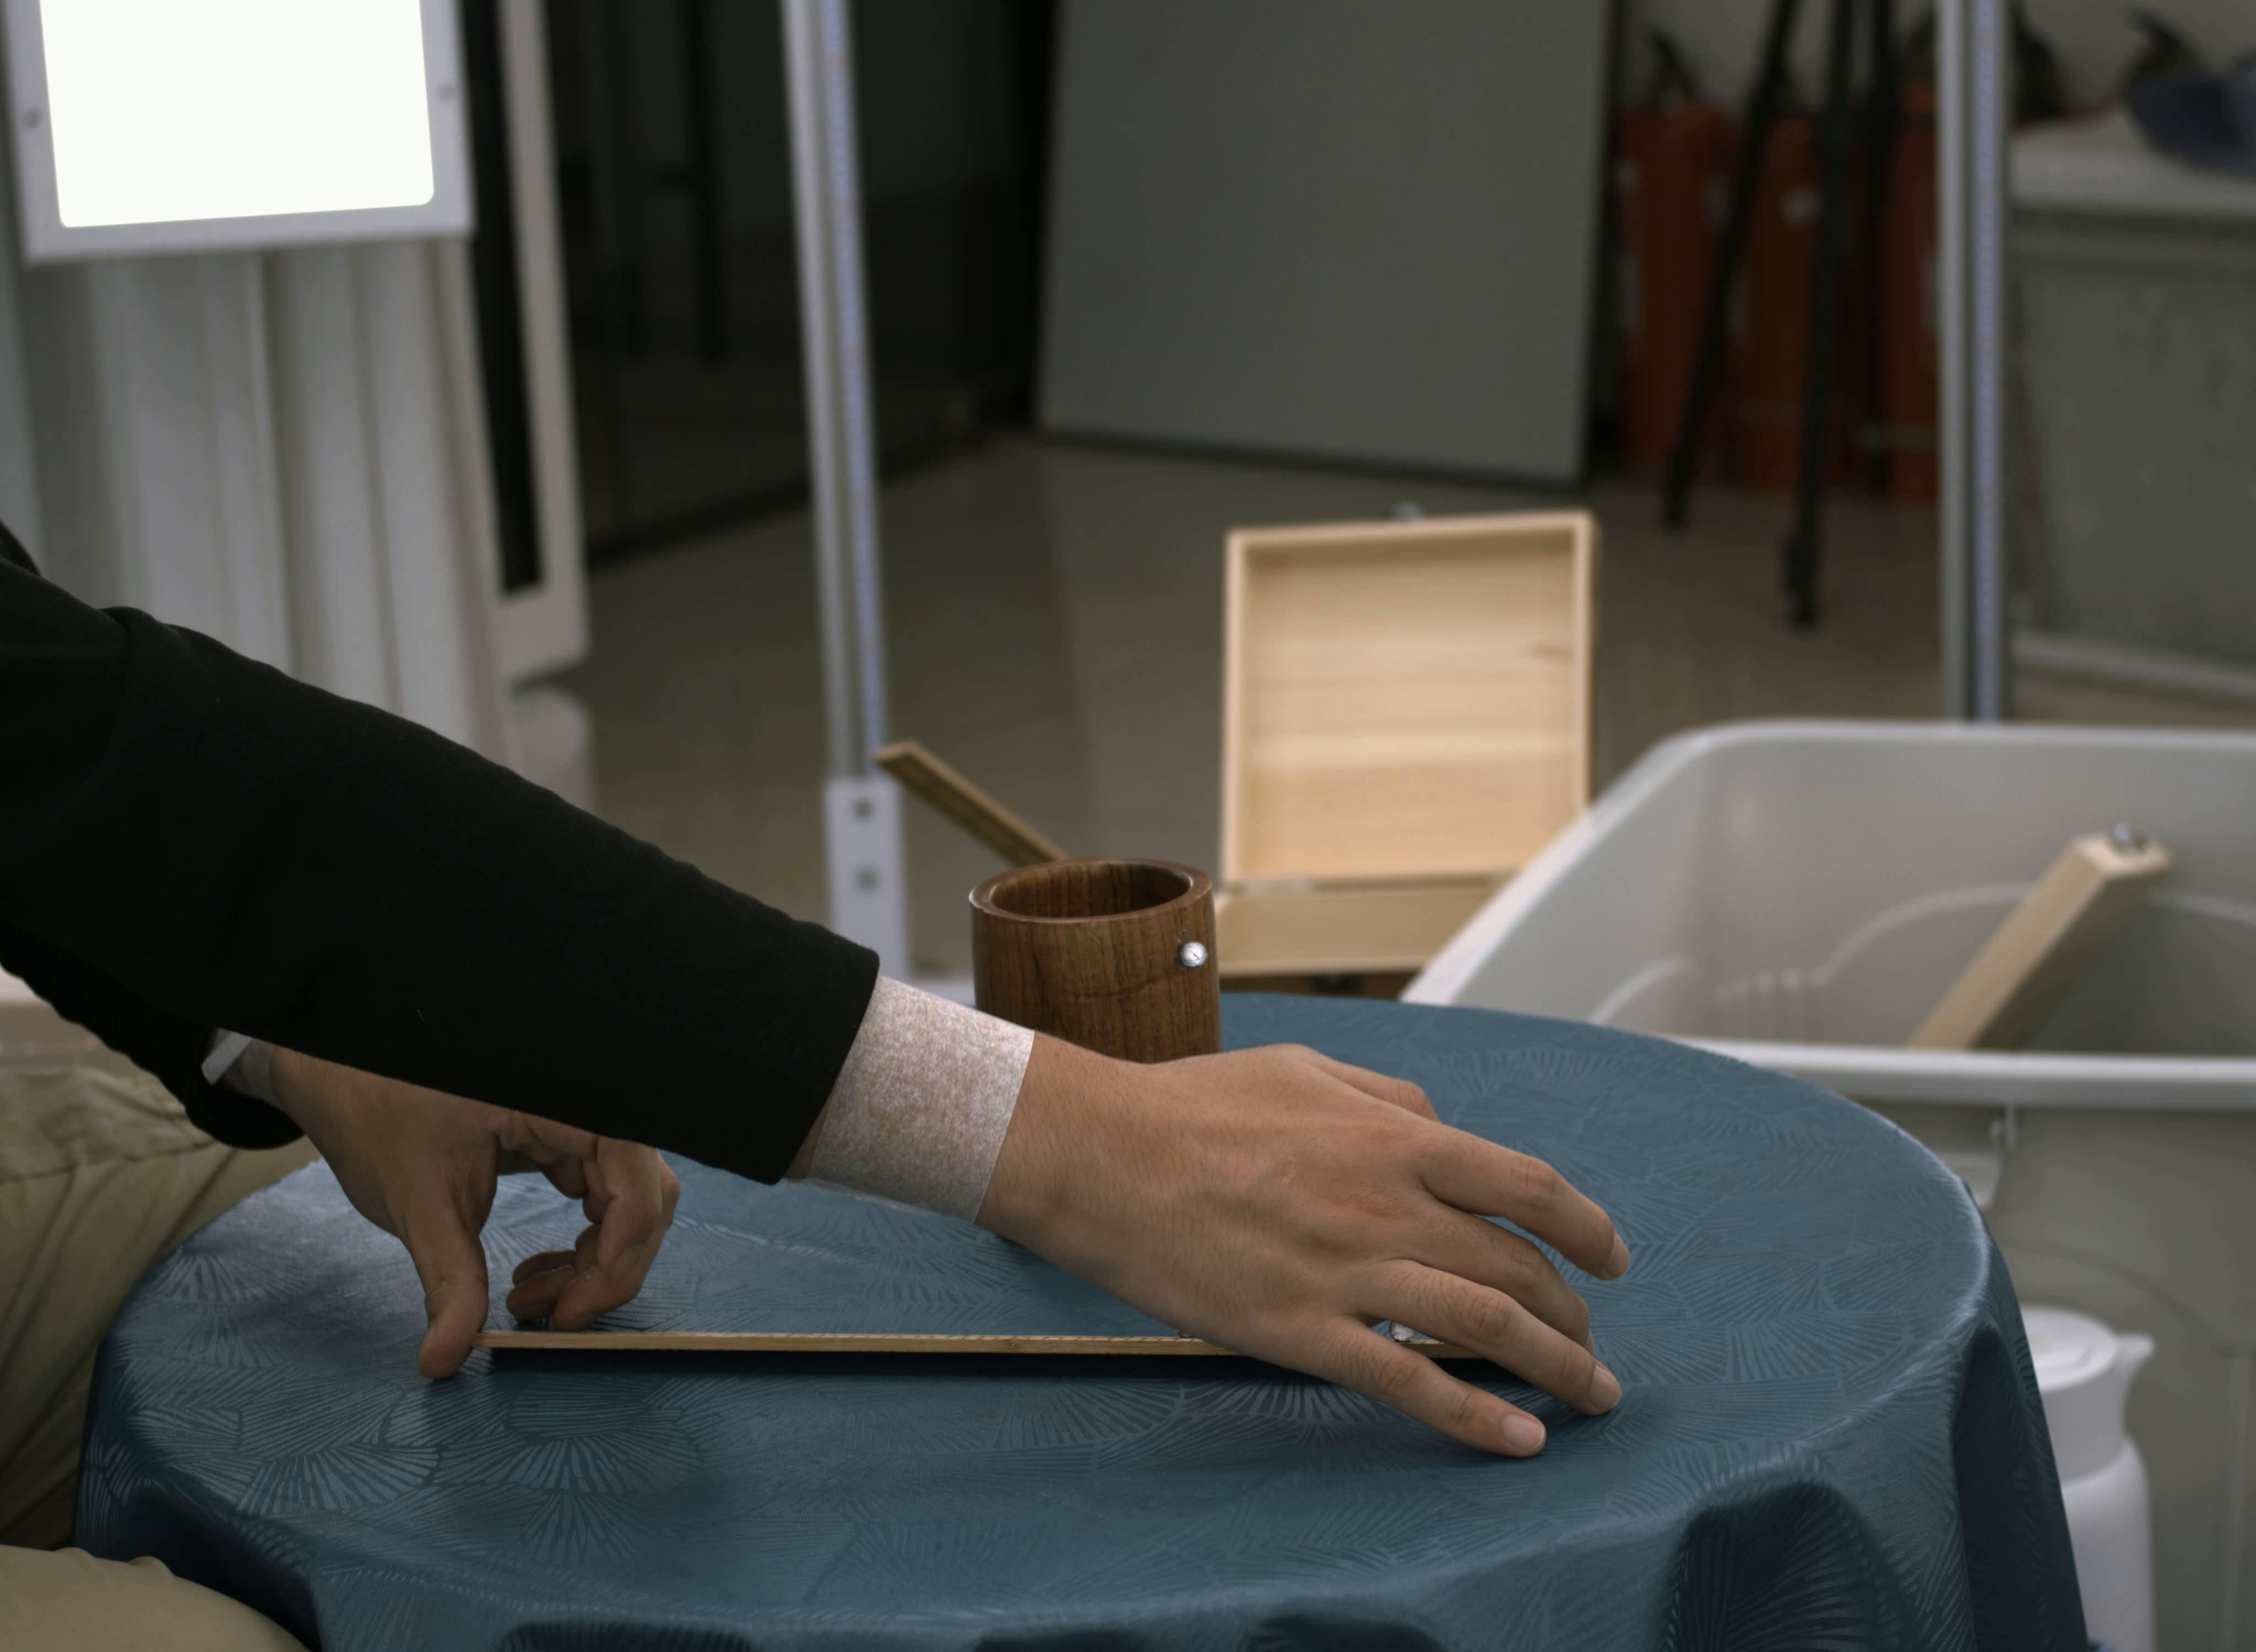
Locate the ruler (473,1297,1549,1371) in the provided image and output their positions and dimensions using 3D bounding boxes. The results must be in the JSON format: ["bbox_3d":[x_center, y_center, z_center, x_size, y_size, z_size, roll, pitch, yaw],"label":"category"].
[{"bbox_3d":[-0.038,0.153,1.617,0.330,0.022,0.027,0,-9,15],"label":"ruler"}]

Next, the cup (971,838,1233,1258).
[{"bbox_3d":[-0.008,0.070,1.733,0.086,0.120,0.088,-4,12,0],"label":"cup"}]
